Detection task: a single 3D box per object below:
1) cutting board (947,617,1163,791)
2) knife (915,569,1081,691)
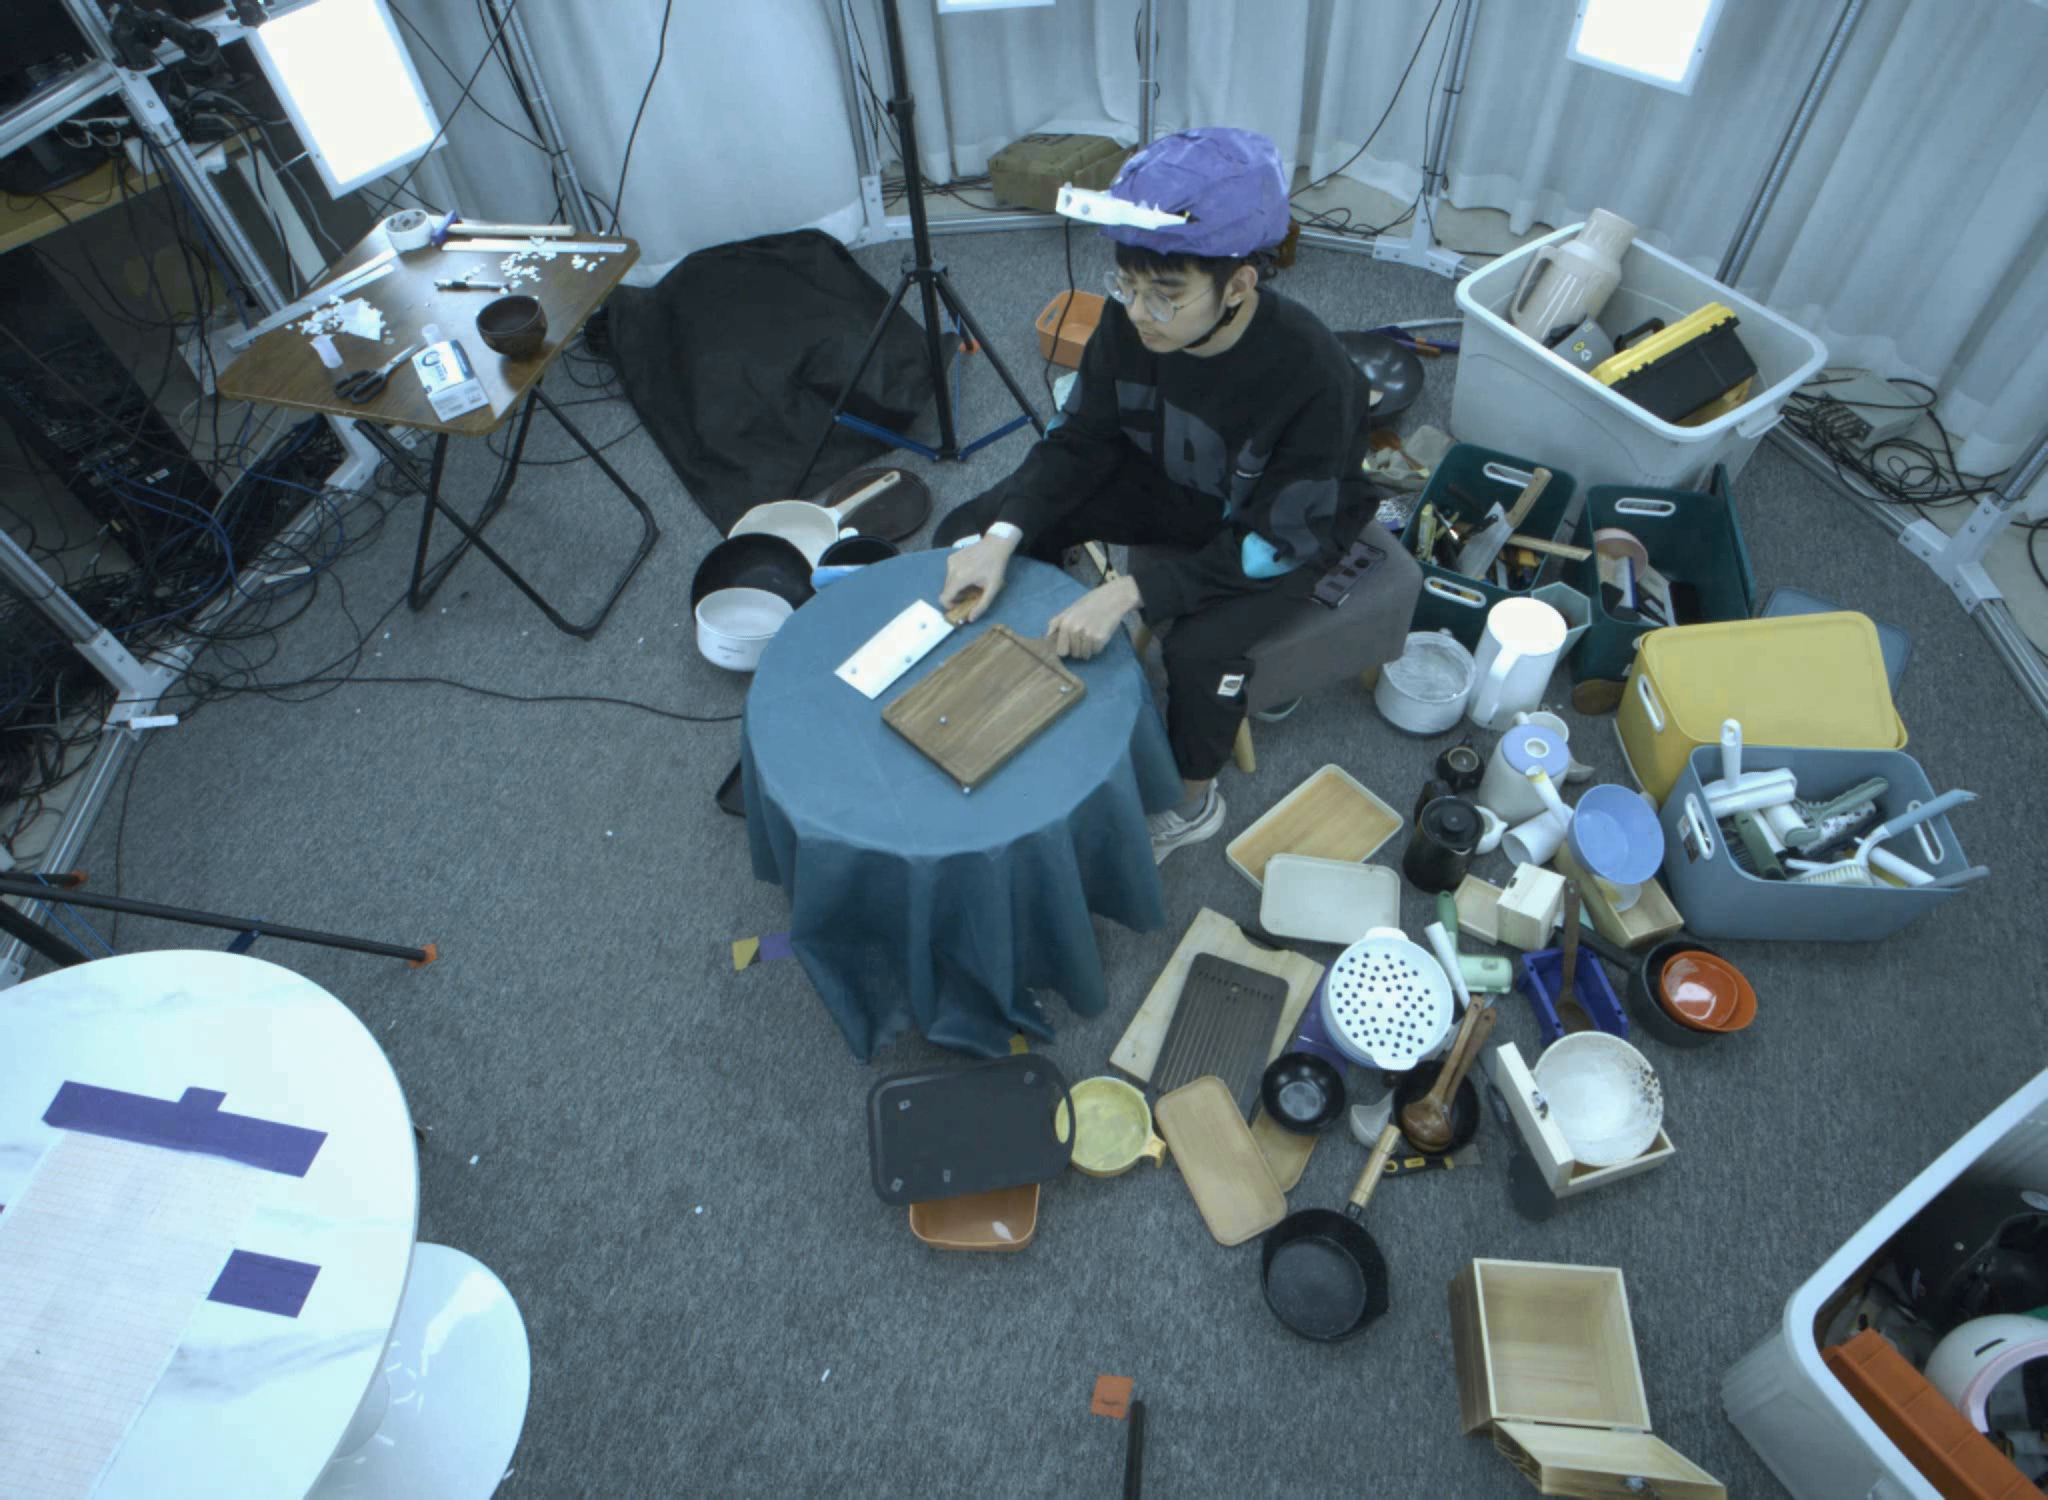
[{"bbox_3d":[0.078,-0.097,1.840,0.355,0.023,0.197,-36,61,-21],"label":"cutting board"},{"bbox_3d":[-0.044,-0.201,1.922,0.307,0.021,0.091,-40,60,-21],"label":"knife"}]
